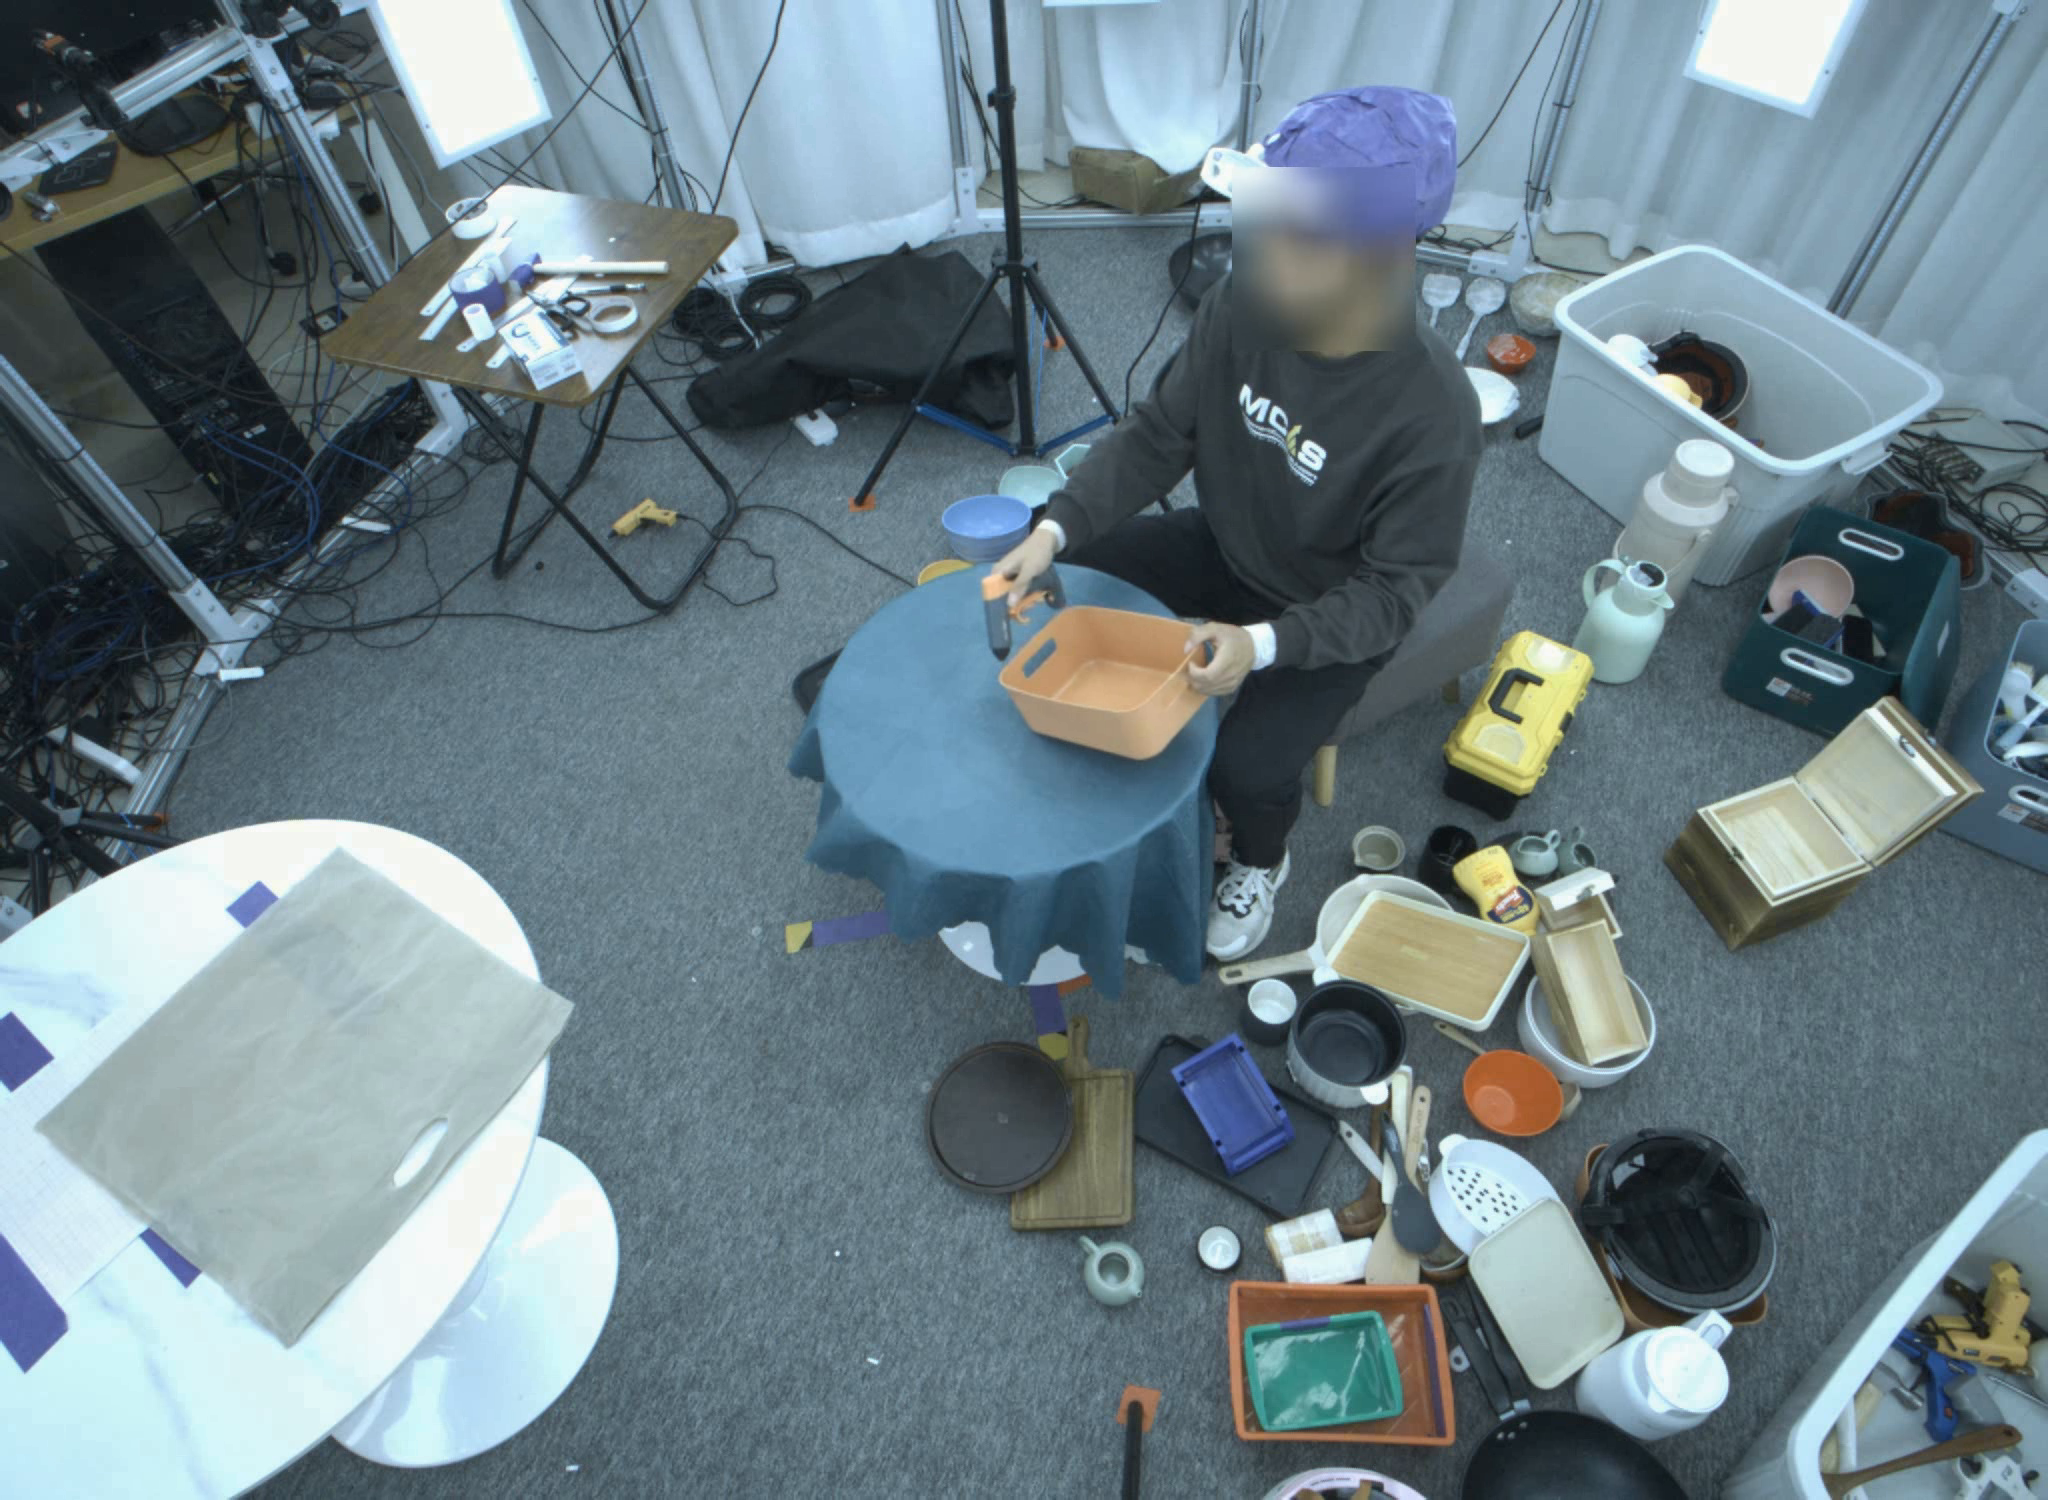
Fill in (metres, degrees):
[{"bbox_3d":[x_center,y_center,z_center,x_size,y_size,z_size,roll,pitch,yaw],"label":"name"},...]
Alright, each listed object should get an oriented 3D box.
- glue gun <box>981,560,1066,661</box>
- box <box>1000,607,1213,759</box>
[{"bbox_3d":[-0.007,-0.207,1.773,0.141,0.119,0.040,-34,28,-30],"label":"glue gun"},{"bbox_3d":[0.122,-0.095,1.740,0.267,0.104,0.200,16,52,41],"label":"box"}]
